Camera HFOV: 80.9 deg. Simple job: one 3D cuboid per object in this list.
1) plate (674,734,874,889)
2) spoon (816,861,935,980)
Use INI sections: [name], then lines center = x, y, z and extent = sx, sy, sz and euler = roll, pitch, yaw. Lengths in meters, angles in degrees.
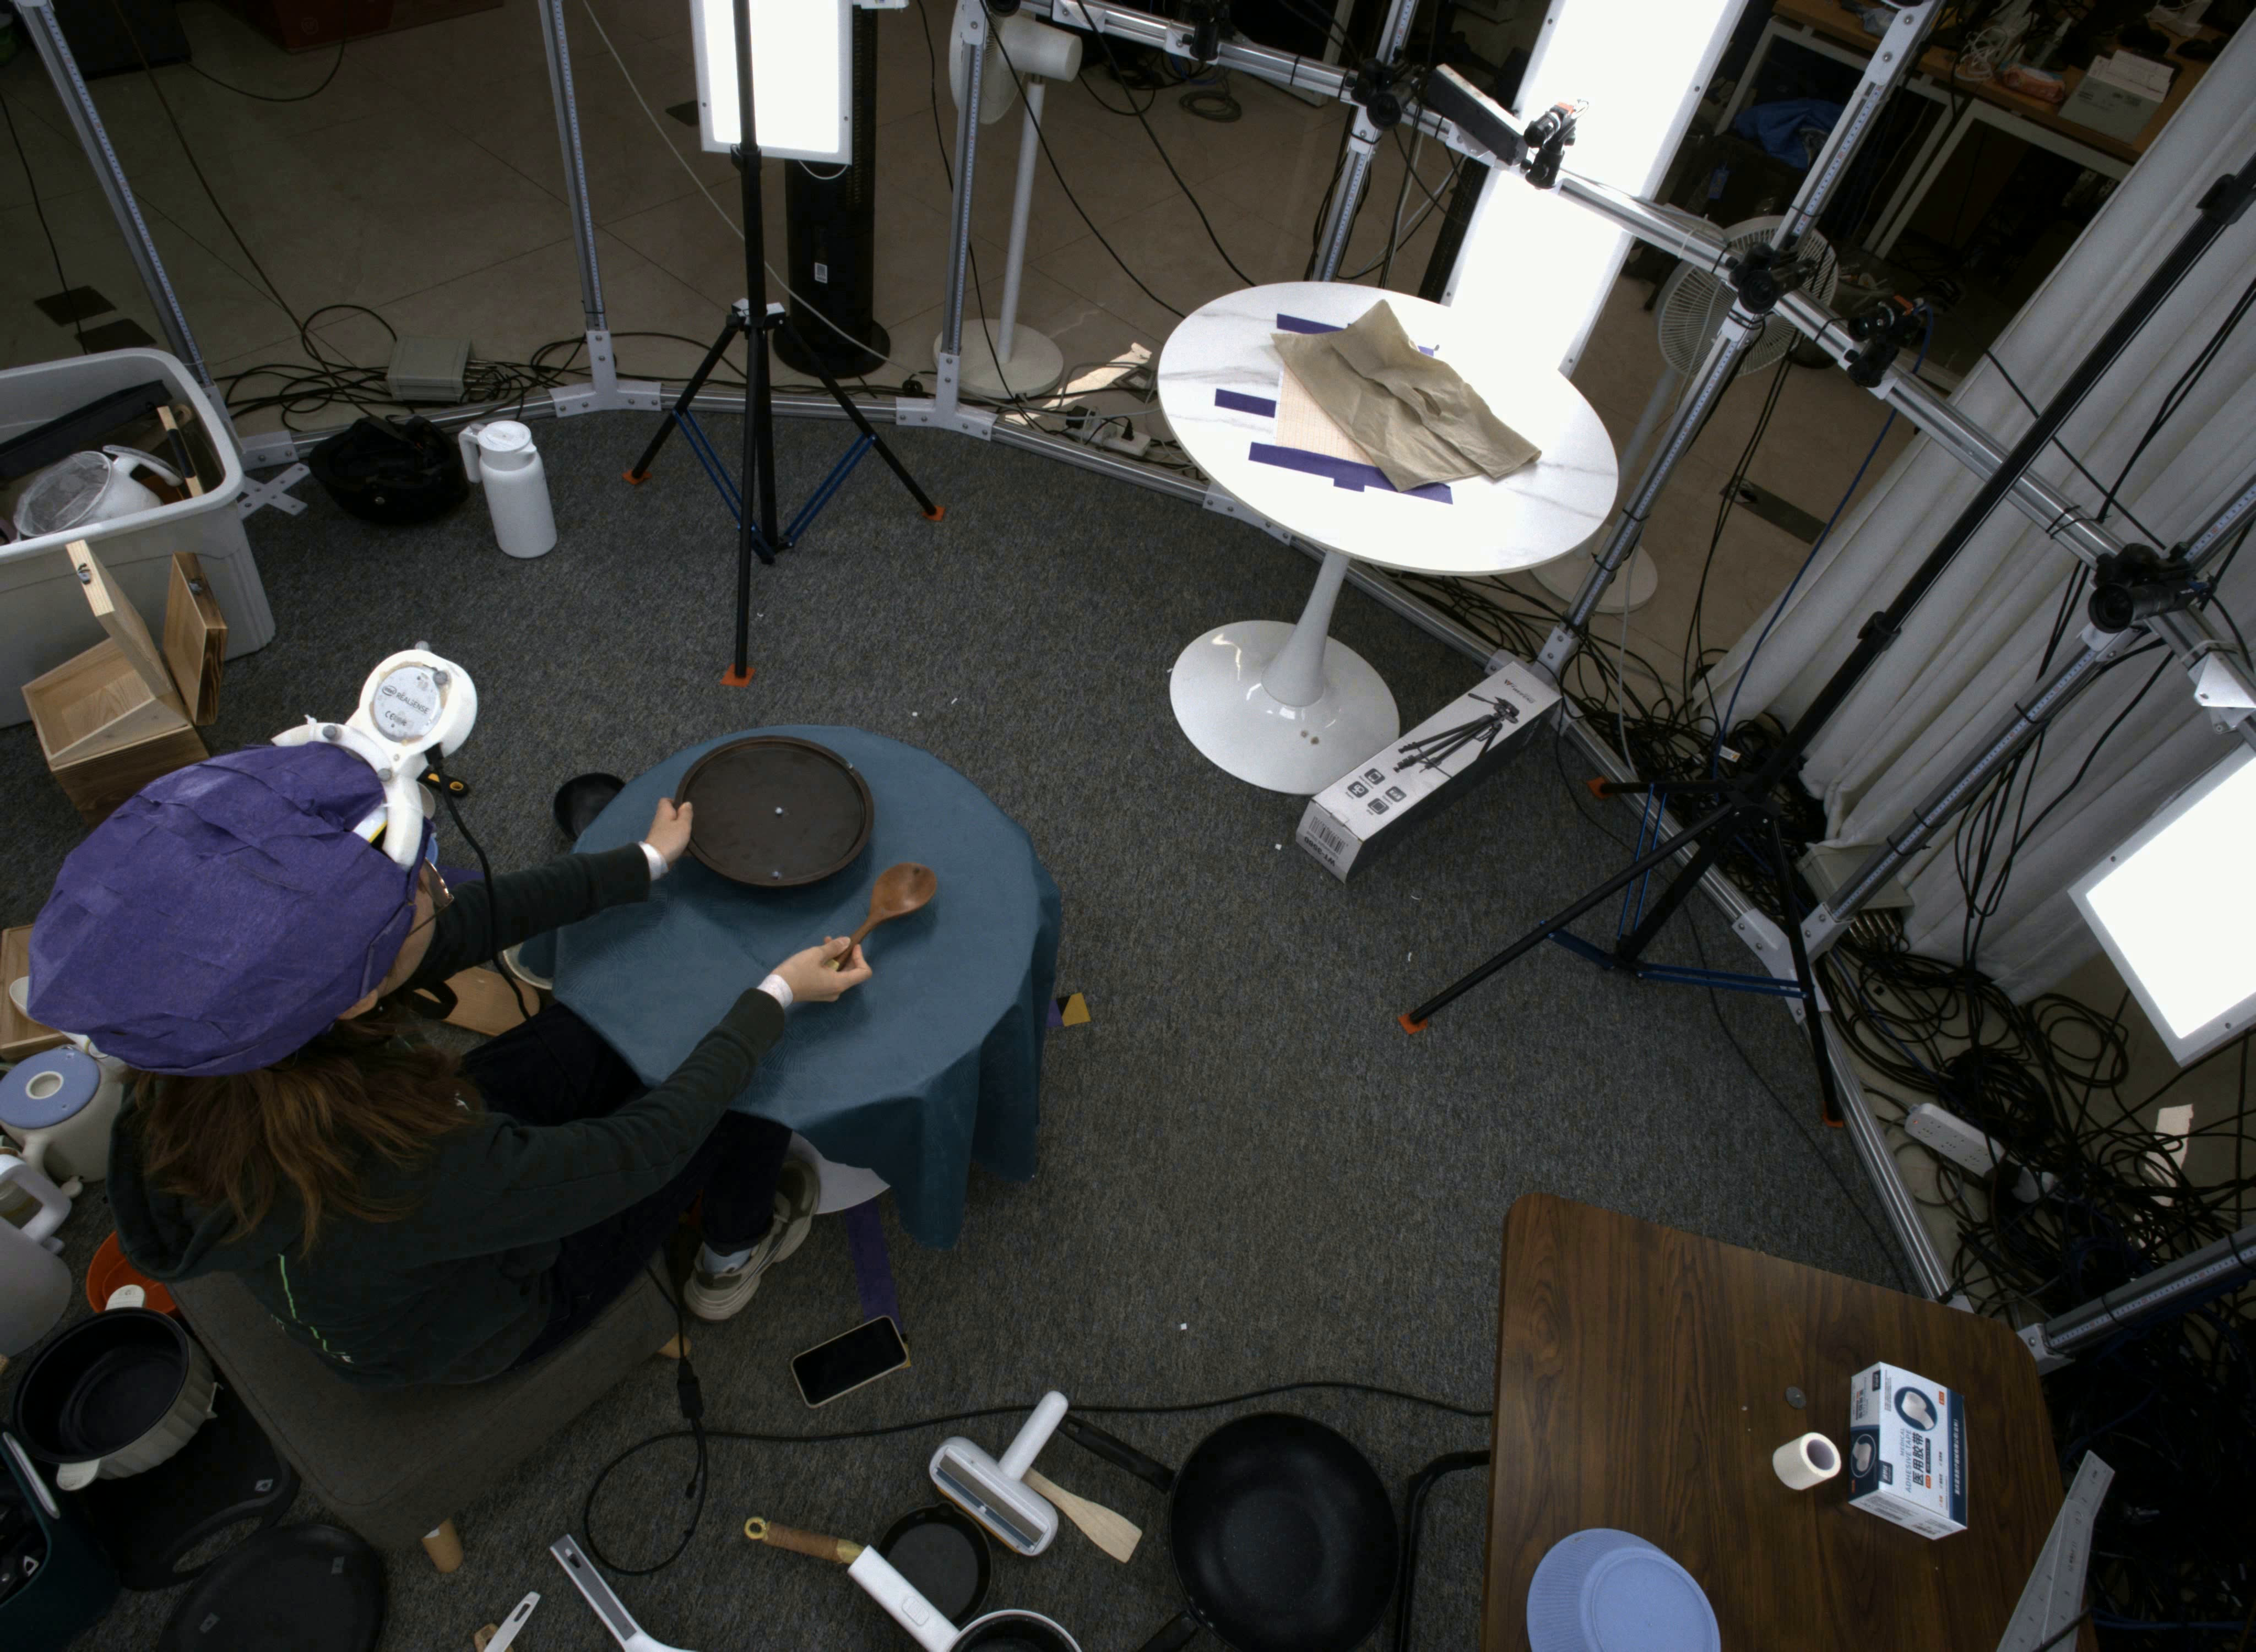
[plate]
center = -0.457, -0.021, 1.674
extent = 0.255, 0.029, 0.250
euler = 11, 49, -11
[spoon]
center = -0.317, 0.115, 1.616
extent = 0.074, 0.017, 0.215
euler = 29, 46, 11
